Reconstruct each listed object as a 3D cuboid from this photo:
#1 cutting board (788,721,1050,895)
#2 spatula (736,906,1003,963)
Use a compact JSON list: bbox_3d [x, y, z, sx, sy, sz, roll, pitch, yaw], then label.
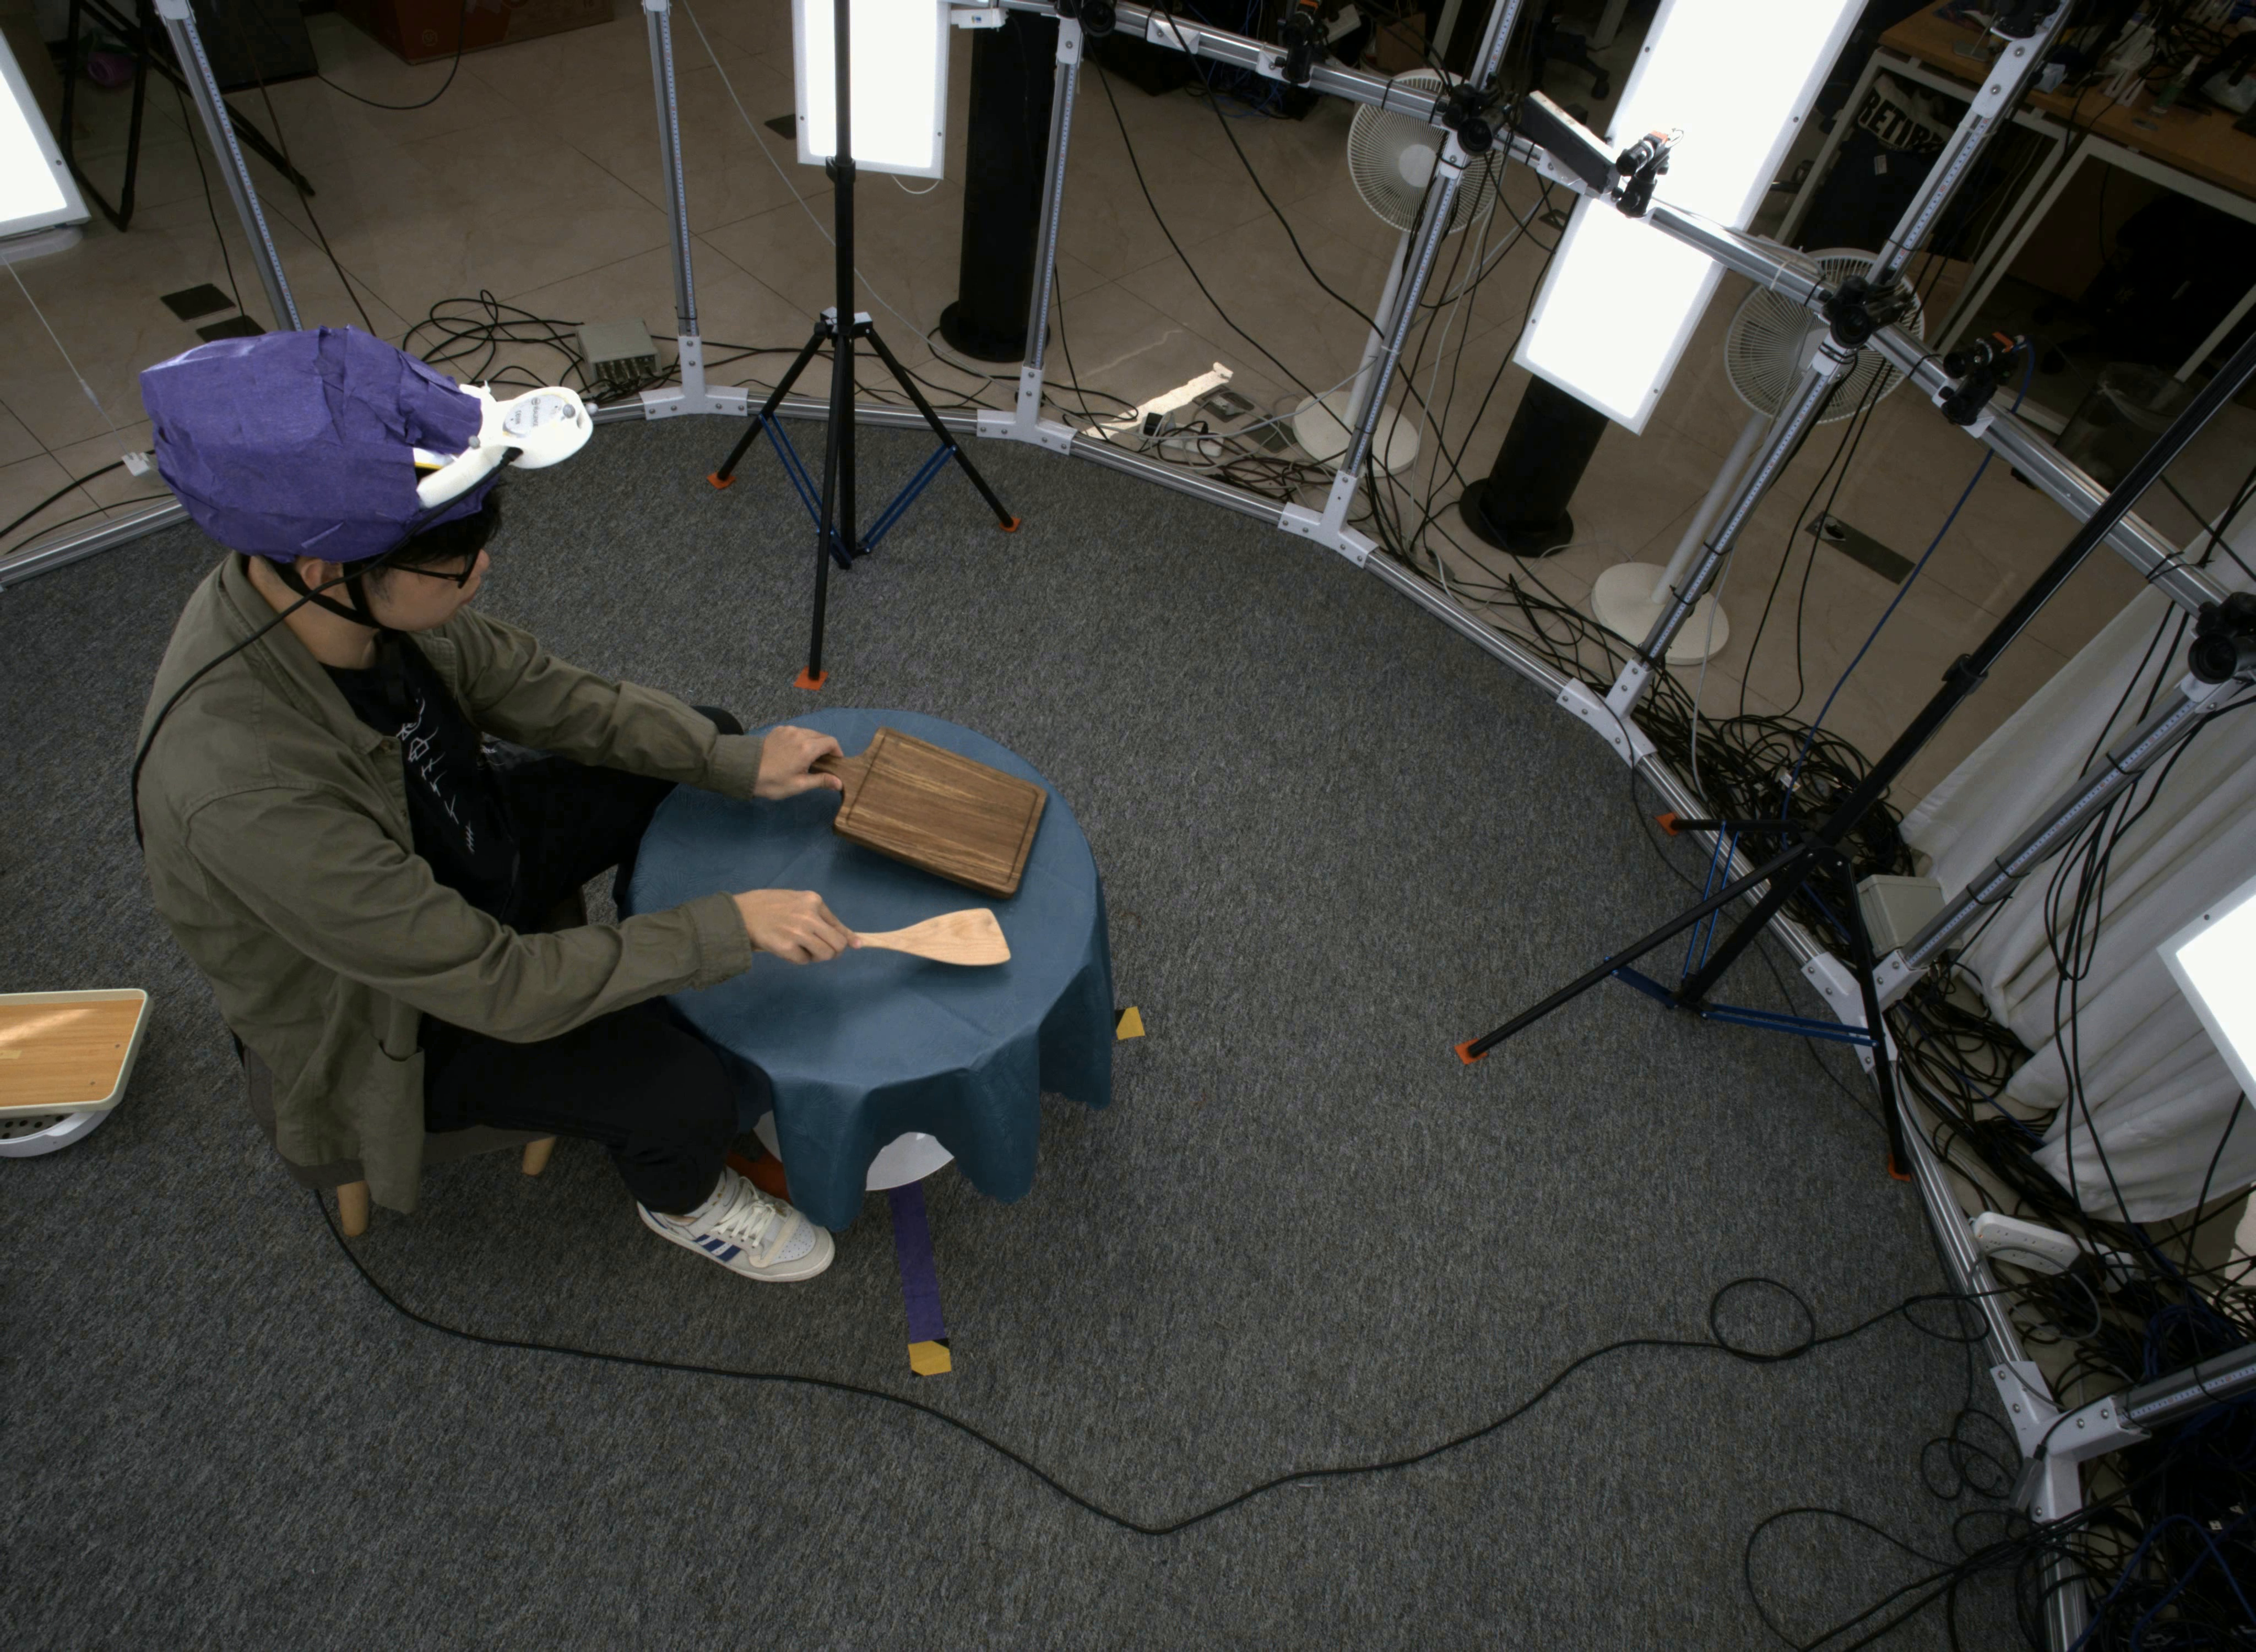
[{"bbox_3d":[-0.288,-0.047,1.752,0.353,0.023,0.198,23,48,-9],"label":"cutting board"},{"bbox_3d":[-0.311,0.133,1.580,0.332,0.016,0.078,1,57,-31],"label":"spatula"}]
